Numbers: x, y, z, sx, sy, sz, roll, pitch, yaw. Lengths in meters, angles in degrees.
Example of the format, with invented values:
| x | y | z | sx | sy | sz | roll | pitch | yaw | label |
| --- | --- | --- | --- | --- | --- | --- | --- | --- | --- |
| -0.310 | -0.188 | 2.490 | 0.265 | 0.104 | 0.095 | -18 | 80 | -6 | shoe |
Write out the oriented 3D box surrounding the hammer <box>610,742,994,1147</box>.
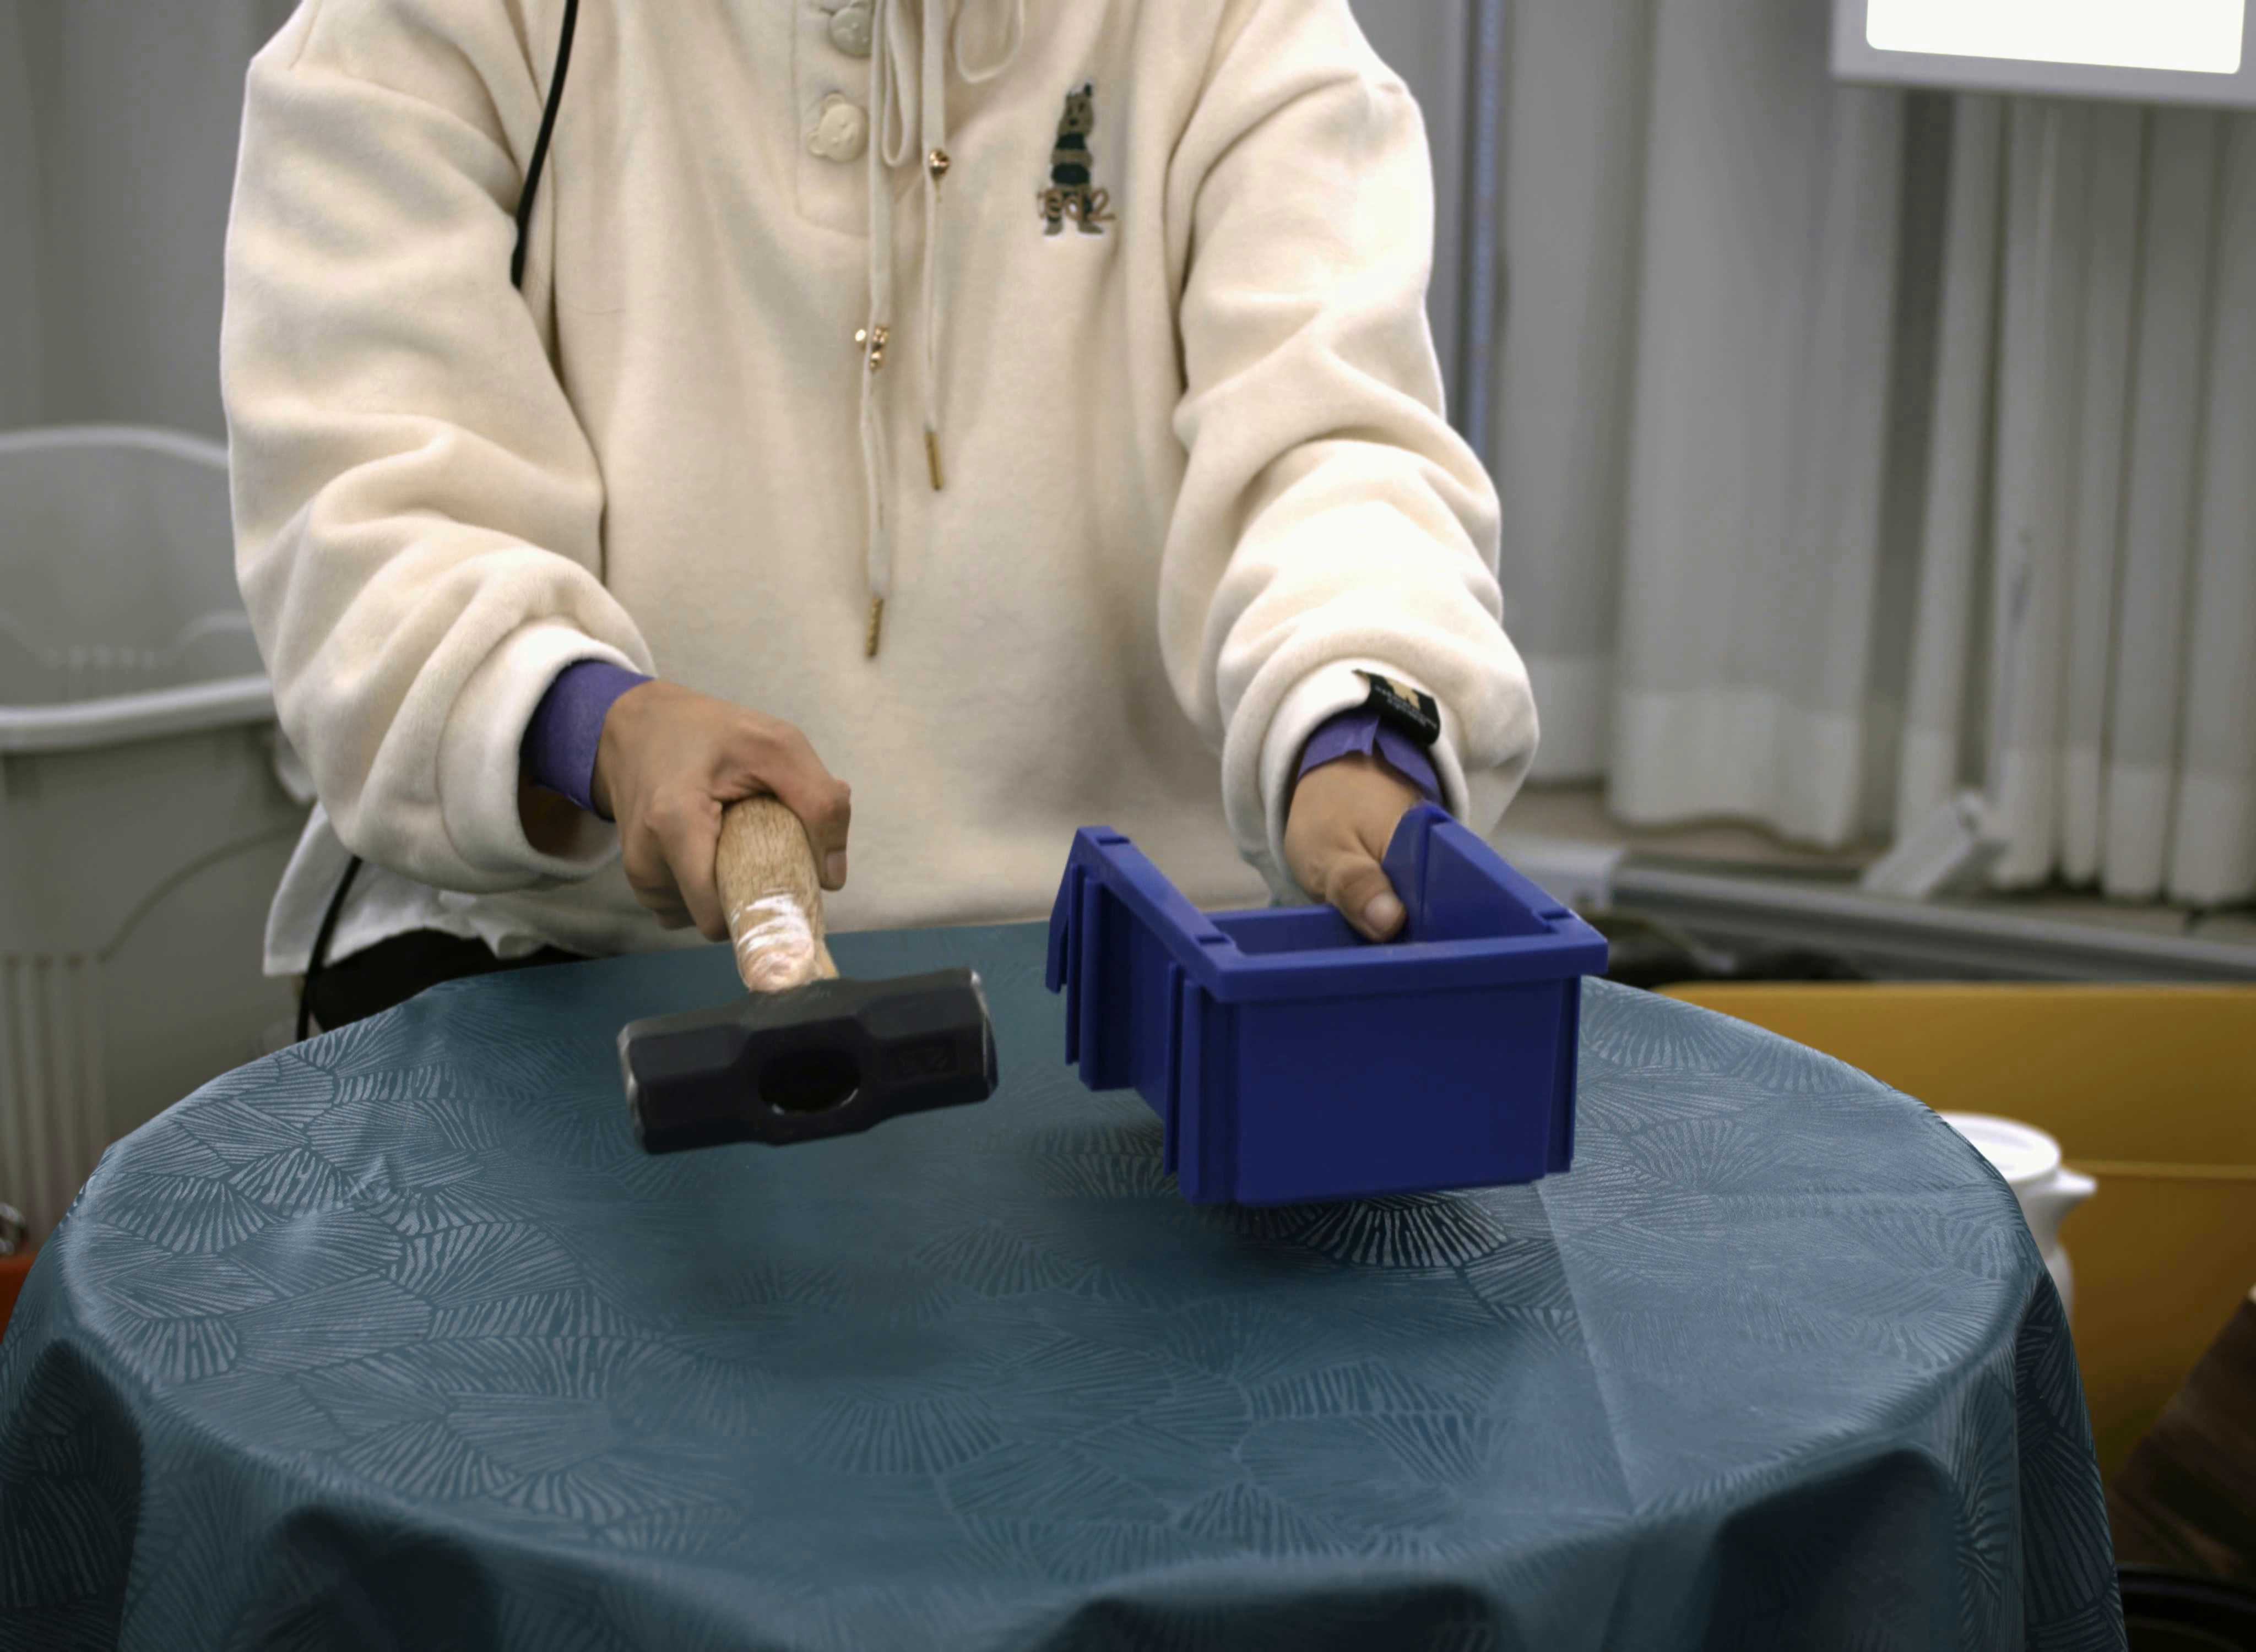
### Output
| x | y | z | sx | sy | sz | roll | pitch | yaw | label |
| --- | --- | --- | --- | --- | --- | --- | --- | --- | --- |
| -0.104 | 0.027 | 1.630 | 0.107 | 0.039 | 0.303 | -9 | 17 | -3 | hammer |

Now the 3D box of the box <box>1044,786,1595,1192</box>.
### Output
| x | y | z | sx | sy | sz | roll | pitch | yaw | label |
| --- | --- | --- | --- | --- | --- | --- | --- | --- | --- |
| 0.053 | 0.046 | 1.617 | 0.125 | 0.082 | 0.177 | -3 | 19 | -16 | box |
